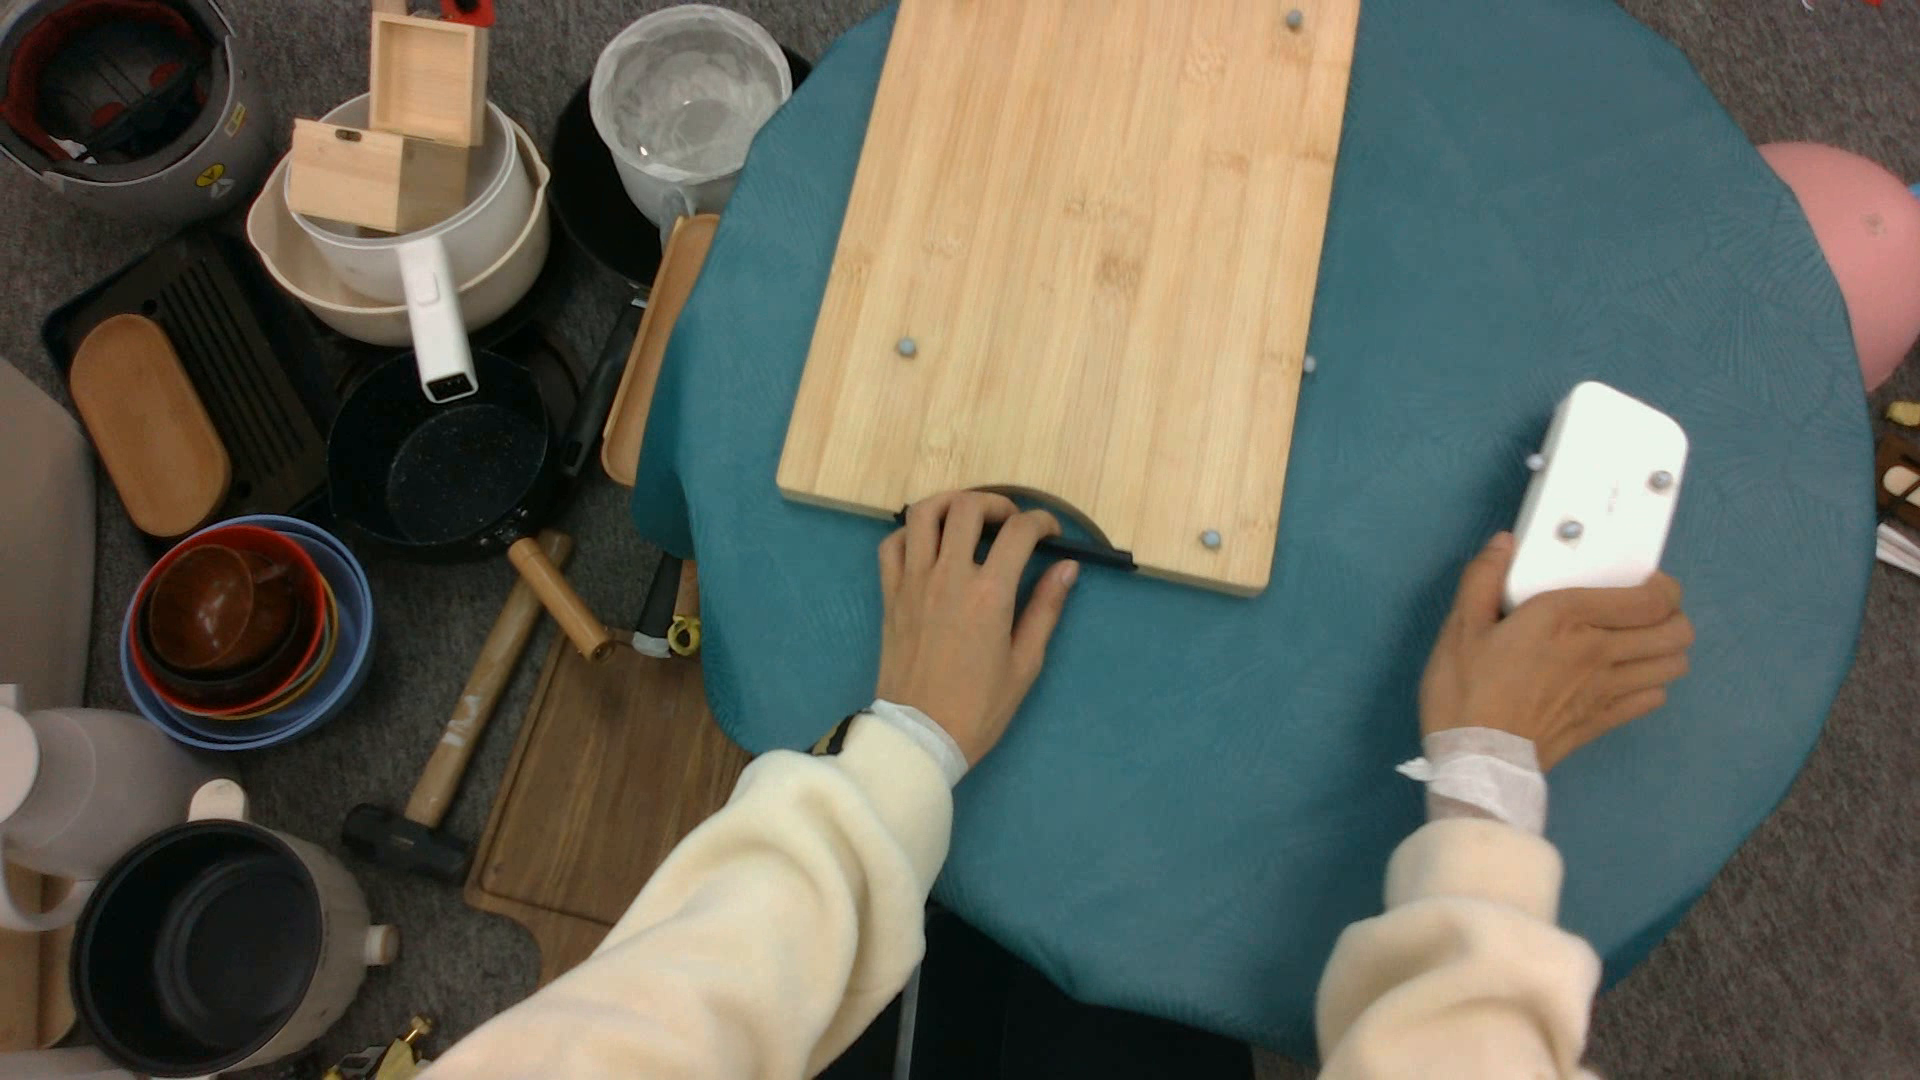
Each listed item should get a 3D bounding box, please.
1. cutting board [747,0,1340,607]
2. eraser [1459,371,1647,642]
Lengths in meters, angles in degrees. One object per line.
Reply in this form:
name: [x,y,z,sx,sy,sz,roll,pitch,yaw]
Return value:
cutting board: [0.052,-0.154,0.708,0.251,0.023,0.349,11,73,2]
eraser: [0.279,-0.018,0.648,0.063,0.034,0.132,26,67,1]
